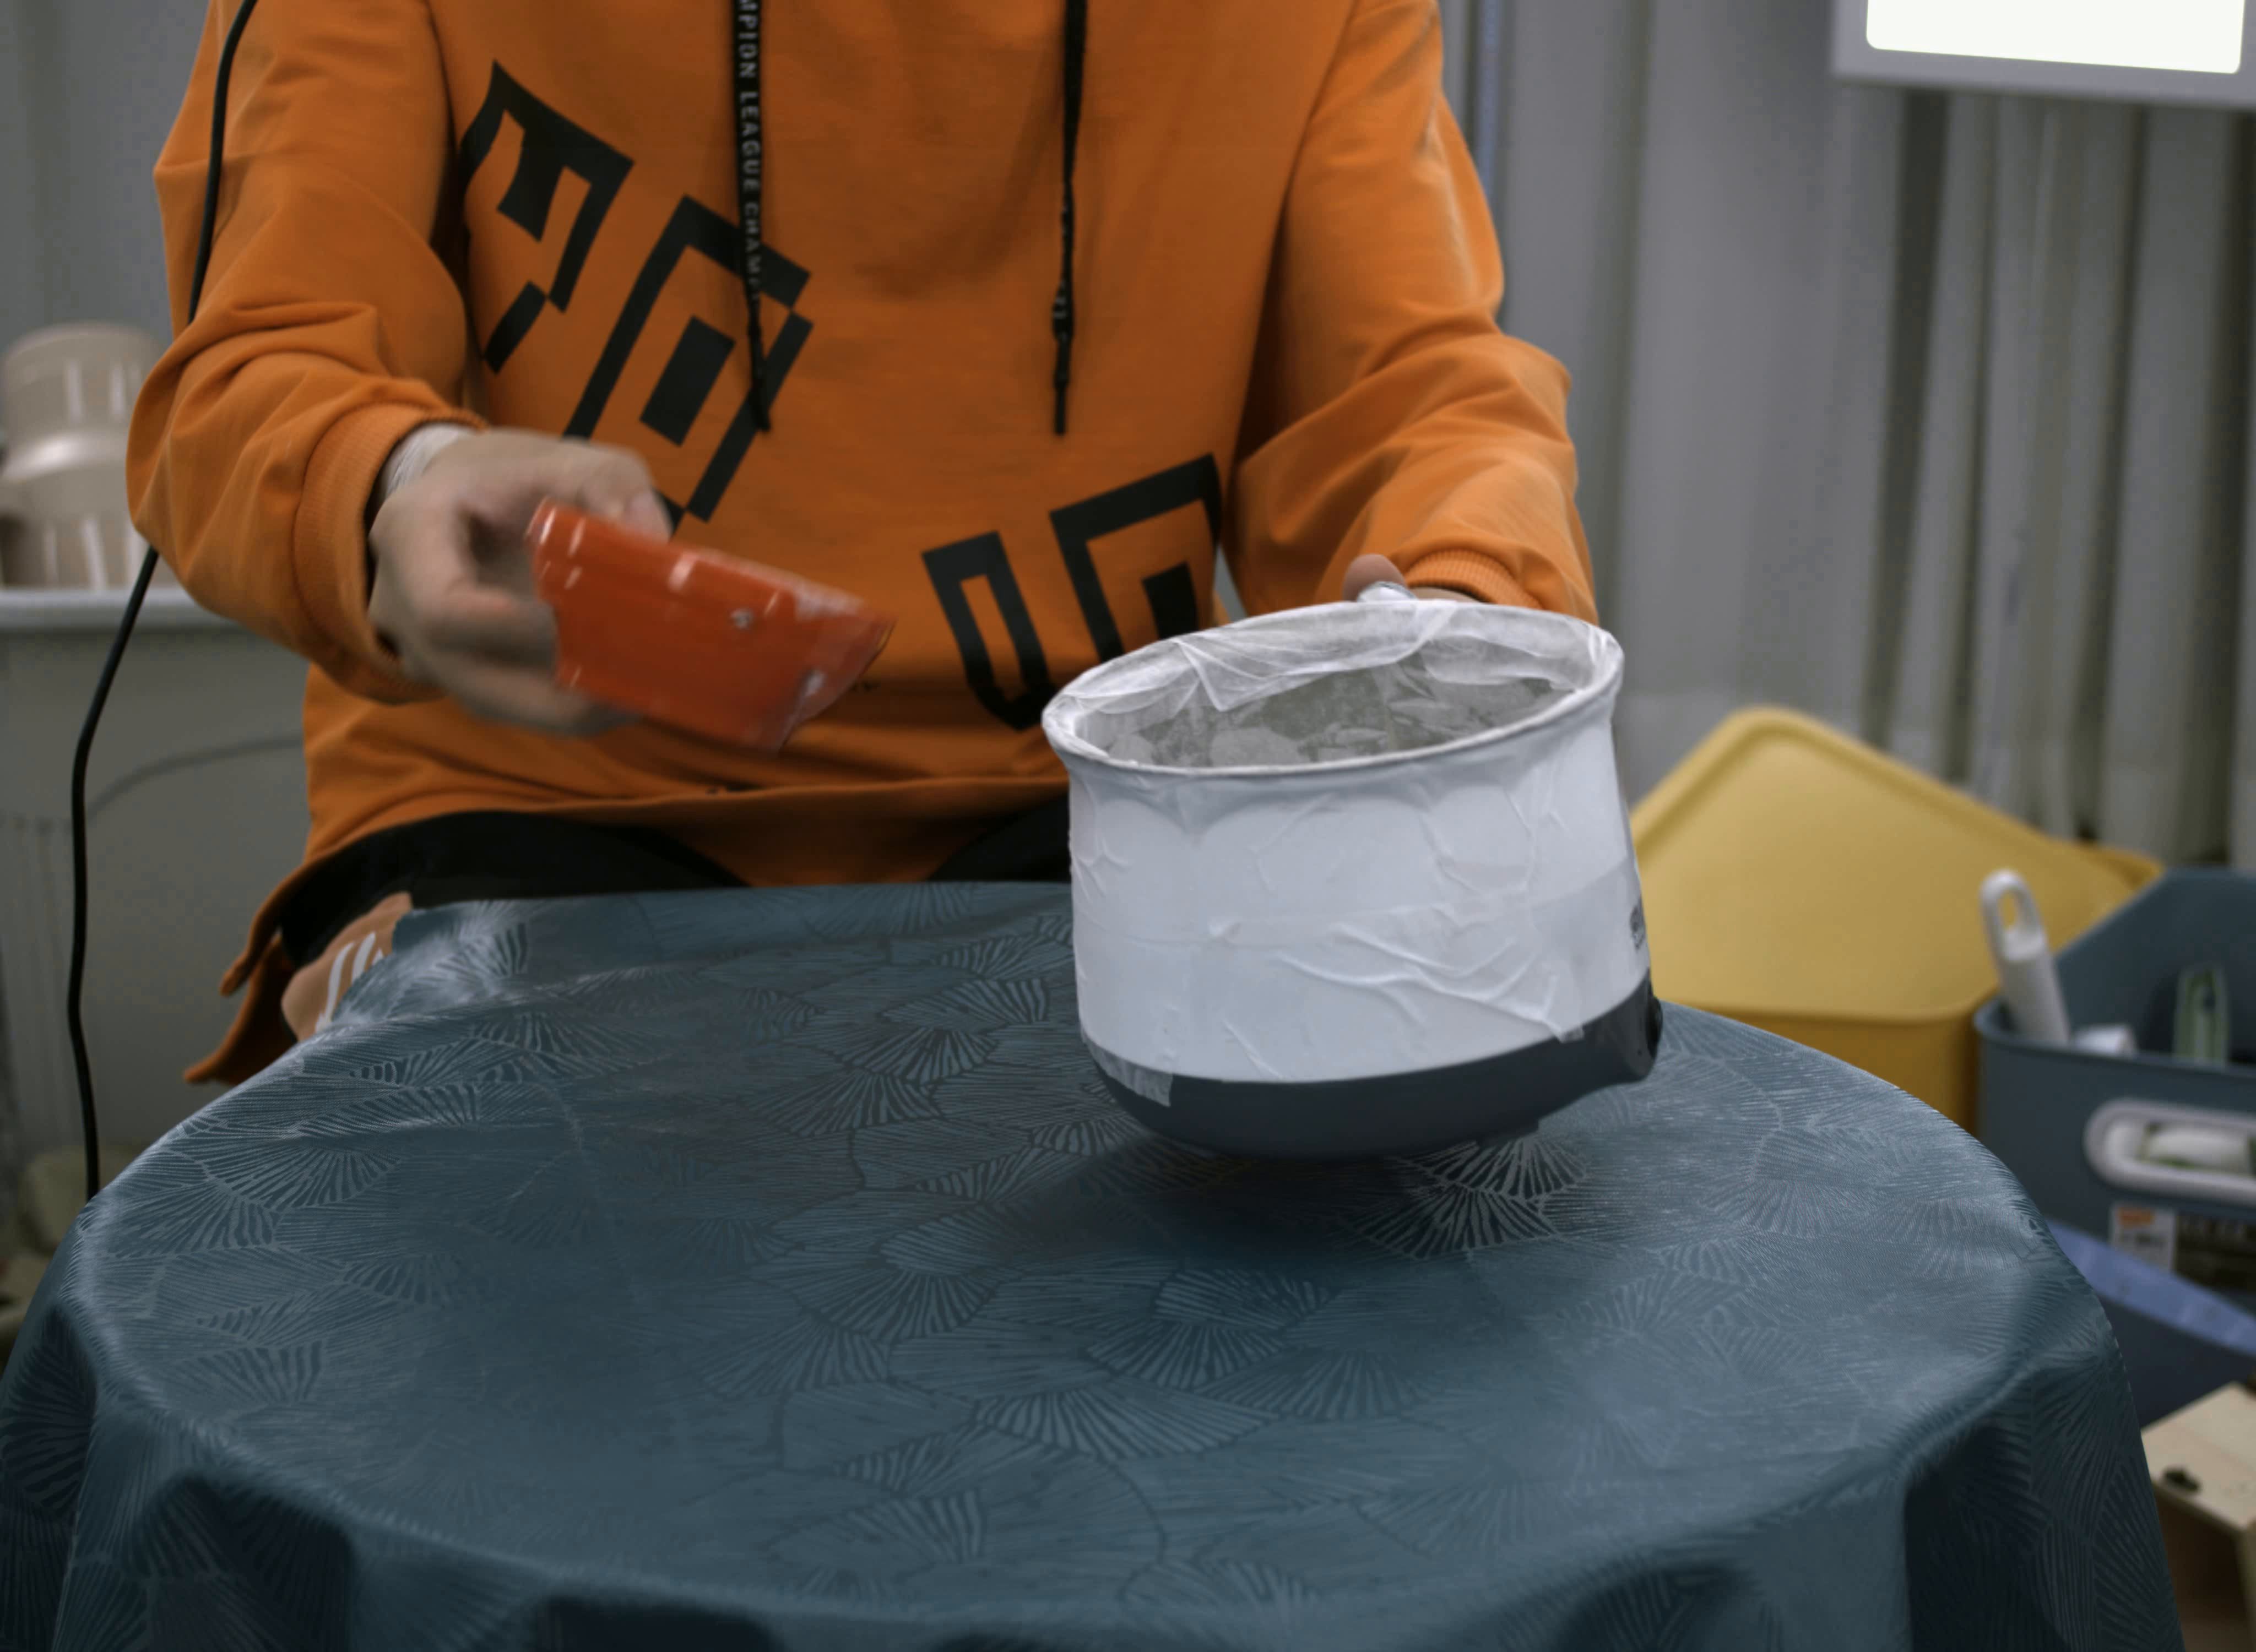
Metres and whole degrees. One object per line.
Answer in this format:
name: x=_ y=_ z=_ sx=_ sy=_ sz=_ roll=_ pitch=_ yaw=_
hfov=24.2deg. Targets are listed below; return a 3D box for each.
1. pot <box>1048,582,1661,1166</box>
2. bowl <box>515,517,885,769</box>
pot: x=0.075 y=0.009 z=1.632 sx=0.177 sy=0.138 sz=0.233 roll=-3 pitch=18 yaw=11
bowl: x=-0.133 y=-0.051 z=1.564 sx=0.118 sy=0.051 sz=0.119 roll=17 pitch=3 yaw=0
